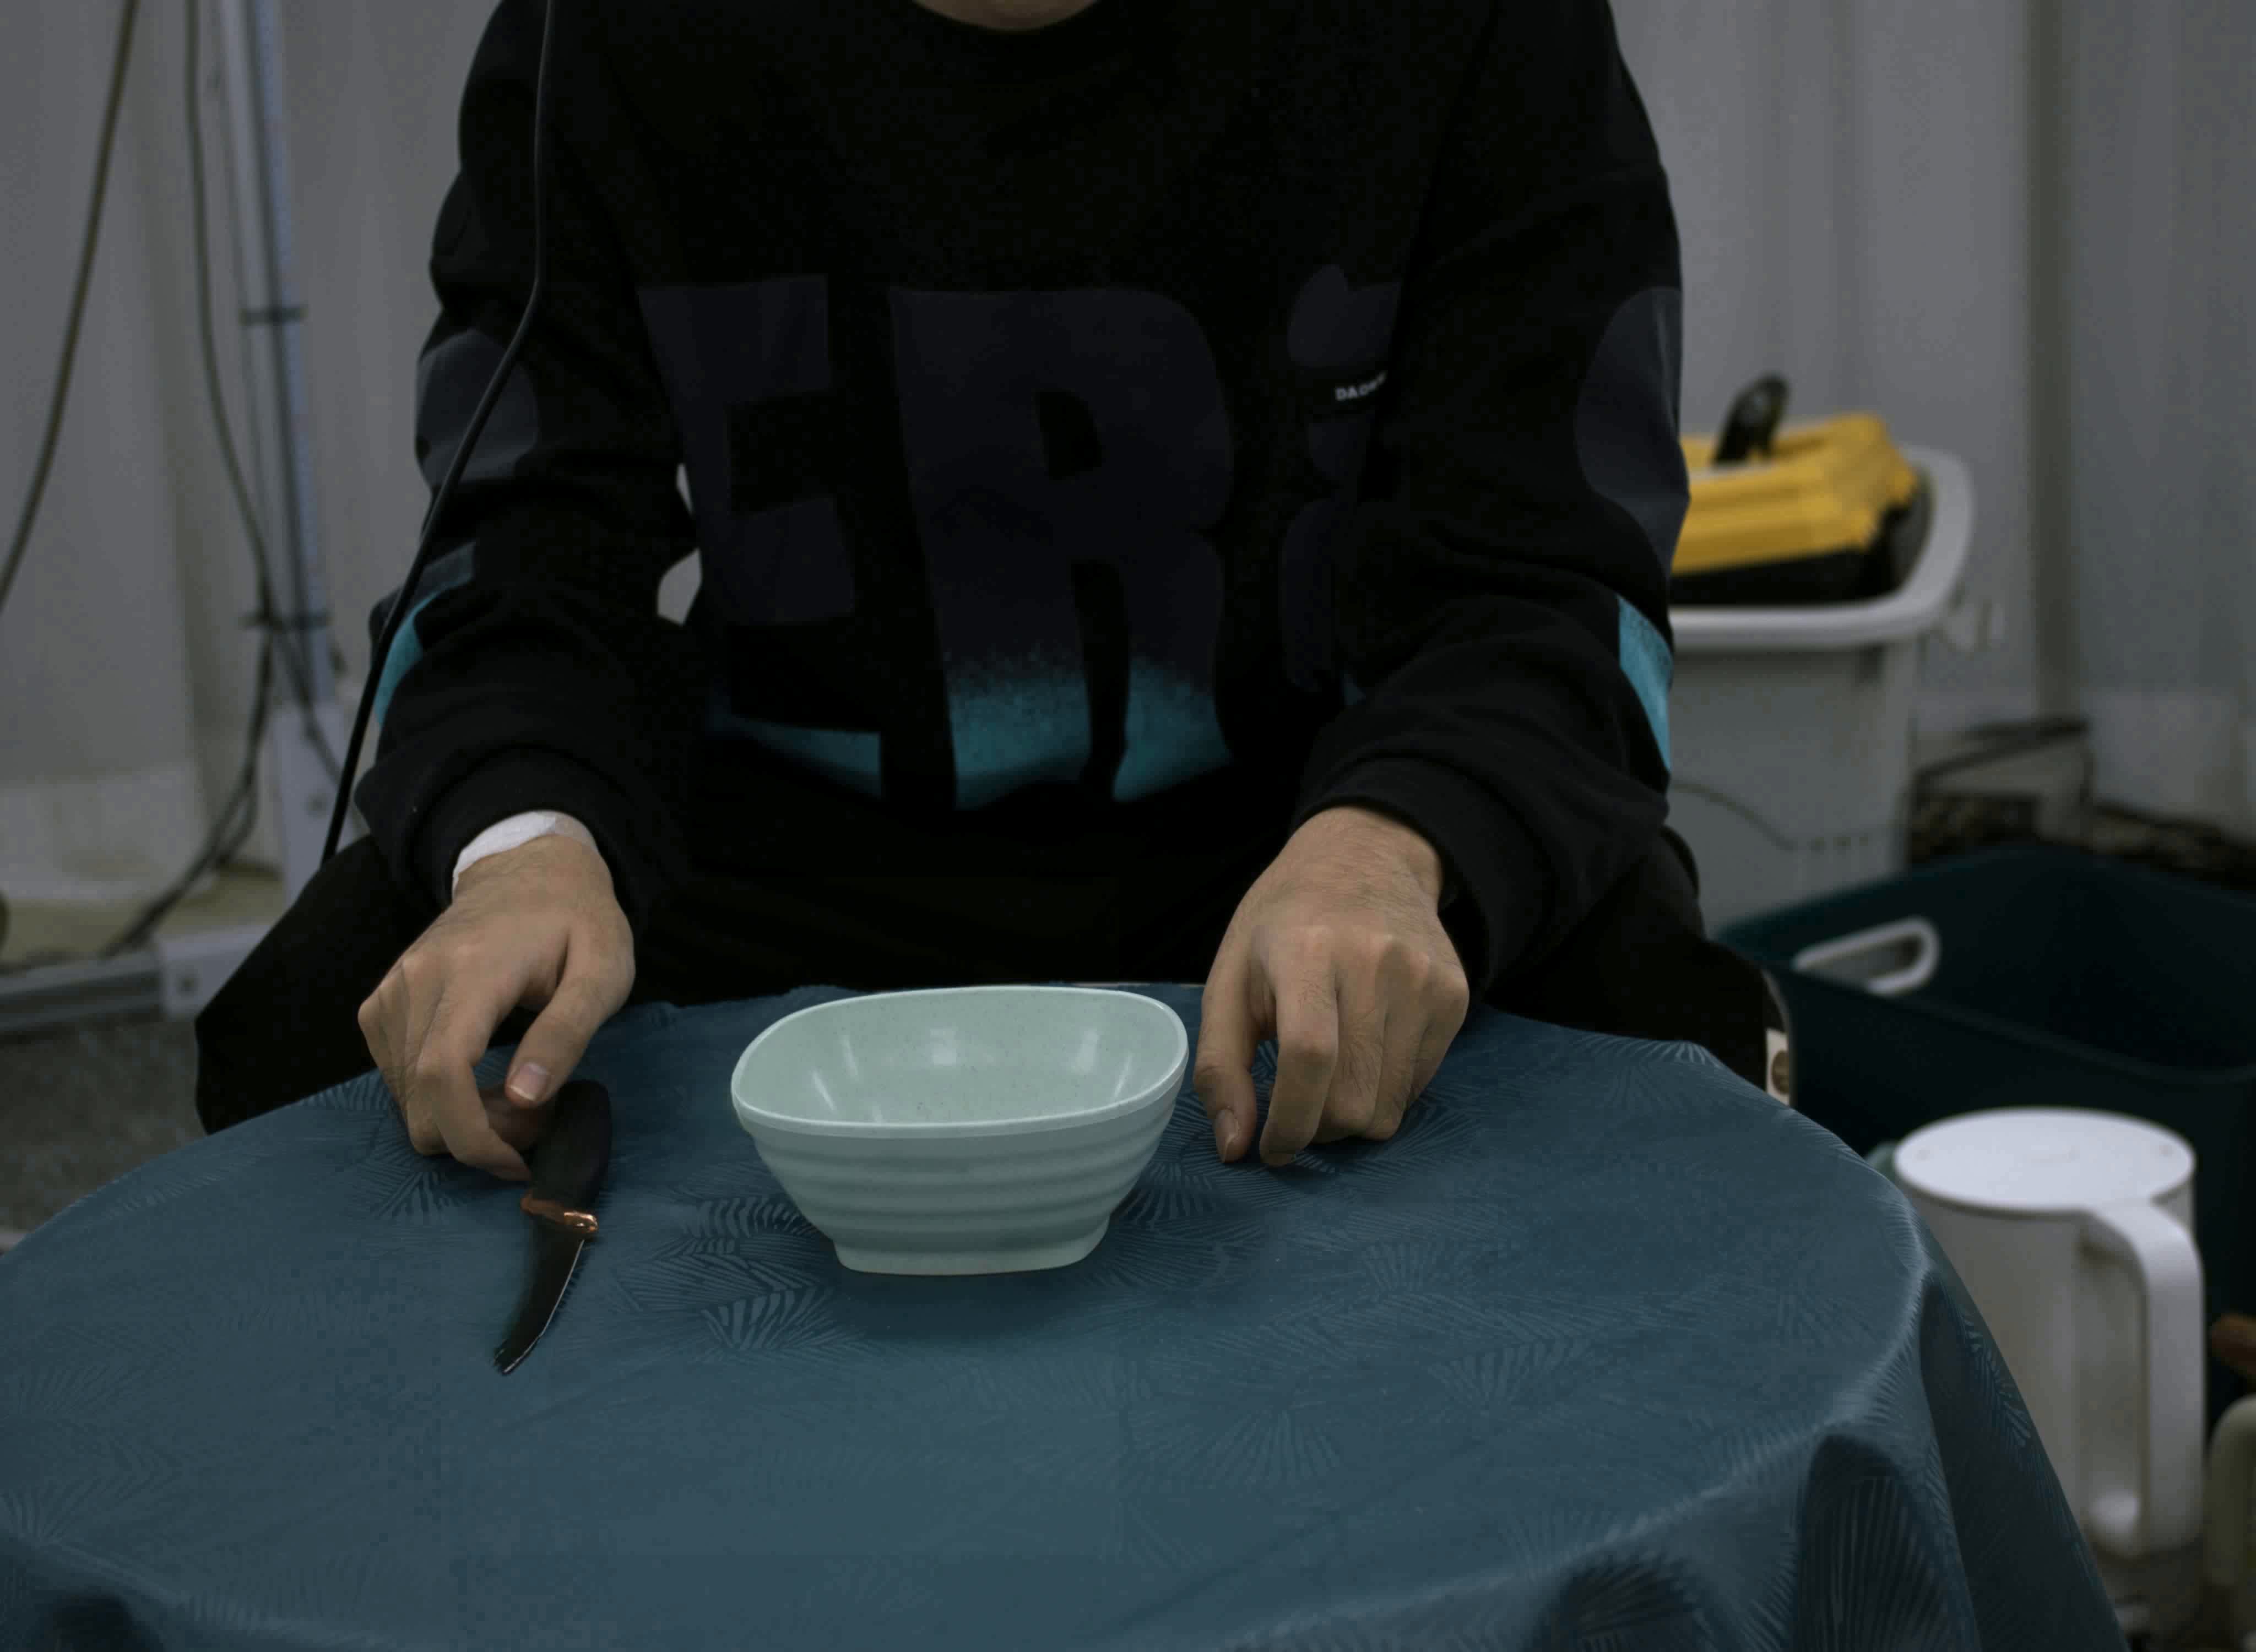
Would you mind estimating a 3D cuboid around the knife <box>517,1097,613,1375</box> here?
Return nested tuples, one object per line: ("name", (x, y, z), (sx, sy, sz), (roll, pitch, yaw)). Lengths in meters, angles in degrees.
("knife", (-0.176, 0.126, 1.689), (0.026, 0.017, 0.227), (4, 16, -2))

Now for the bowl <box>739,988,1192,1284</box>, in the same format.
("bowl", (-0.048, 0.099, 1.680), (0.151, 0.058, 0.152), (-4, 15, 1))
